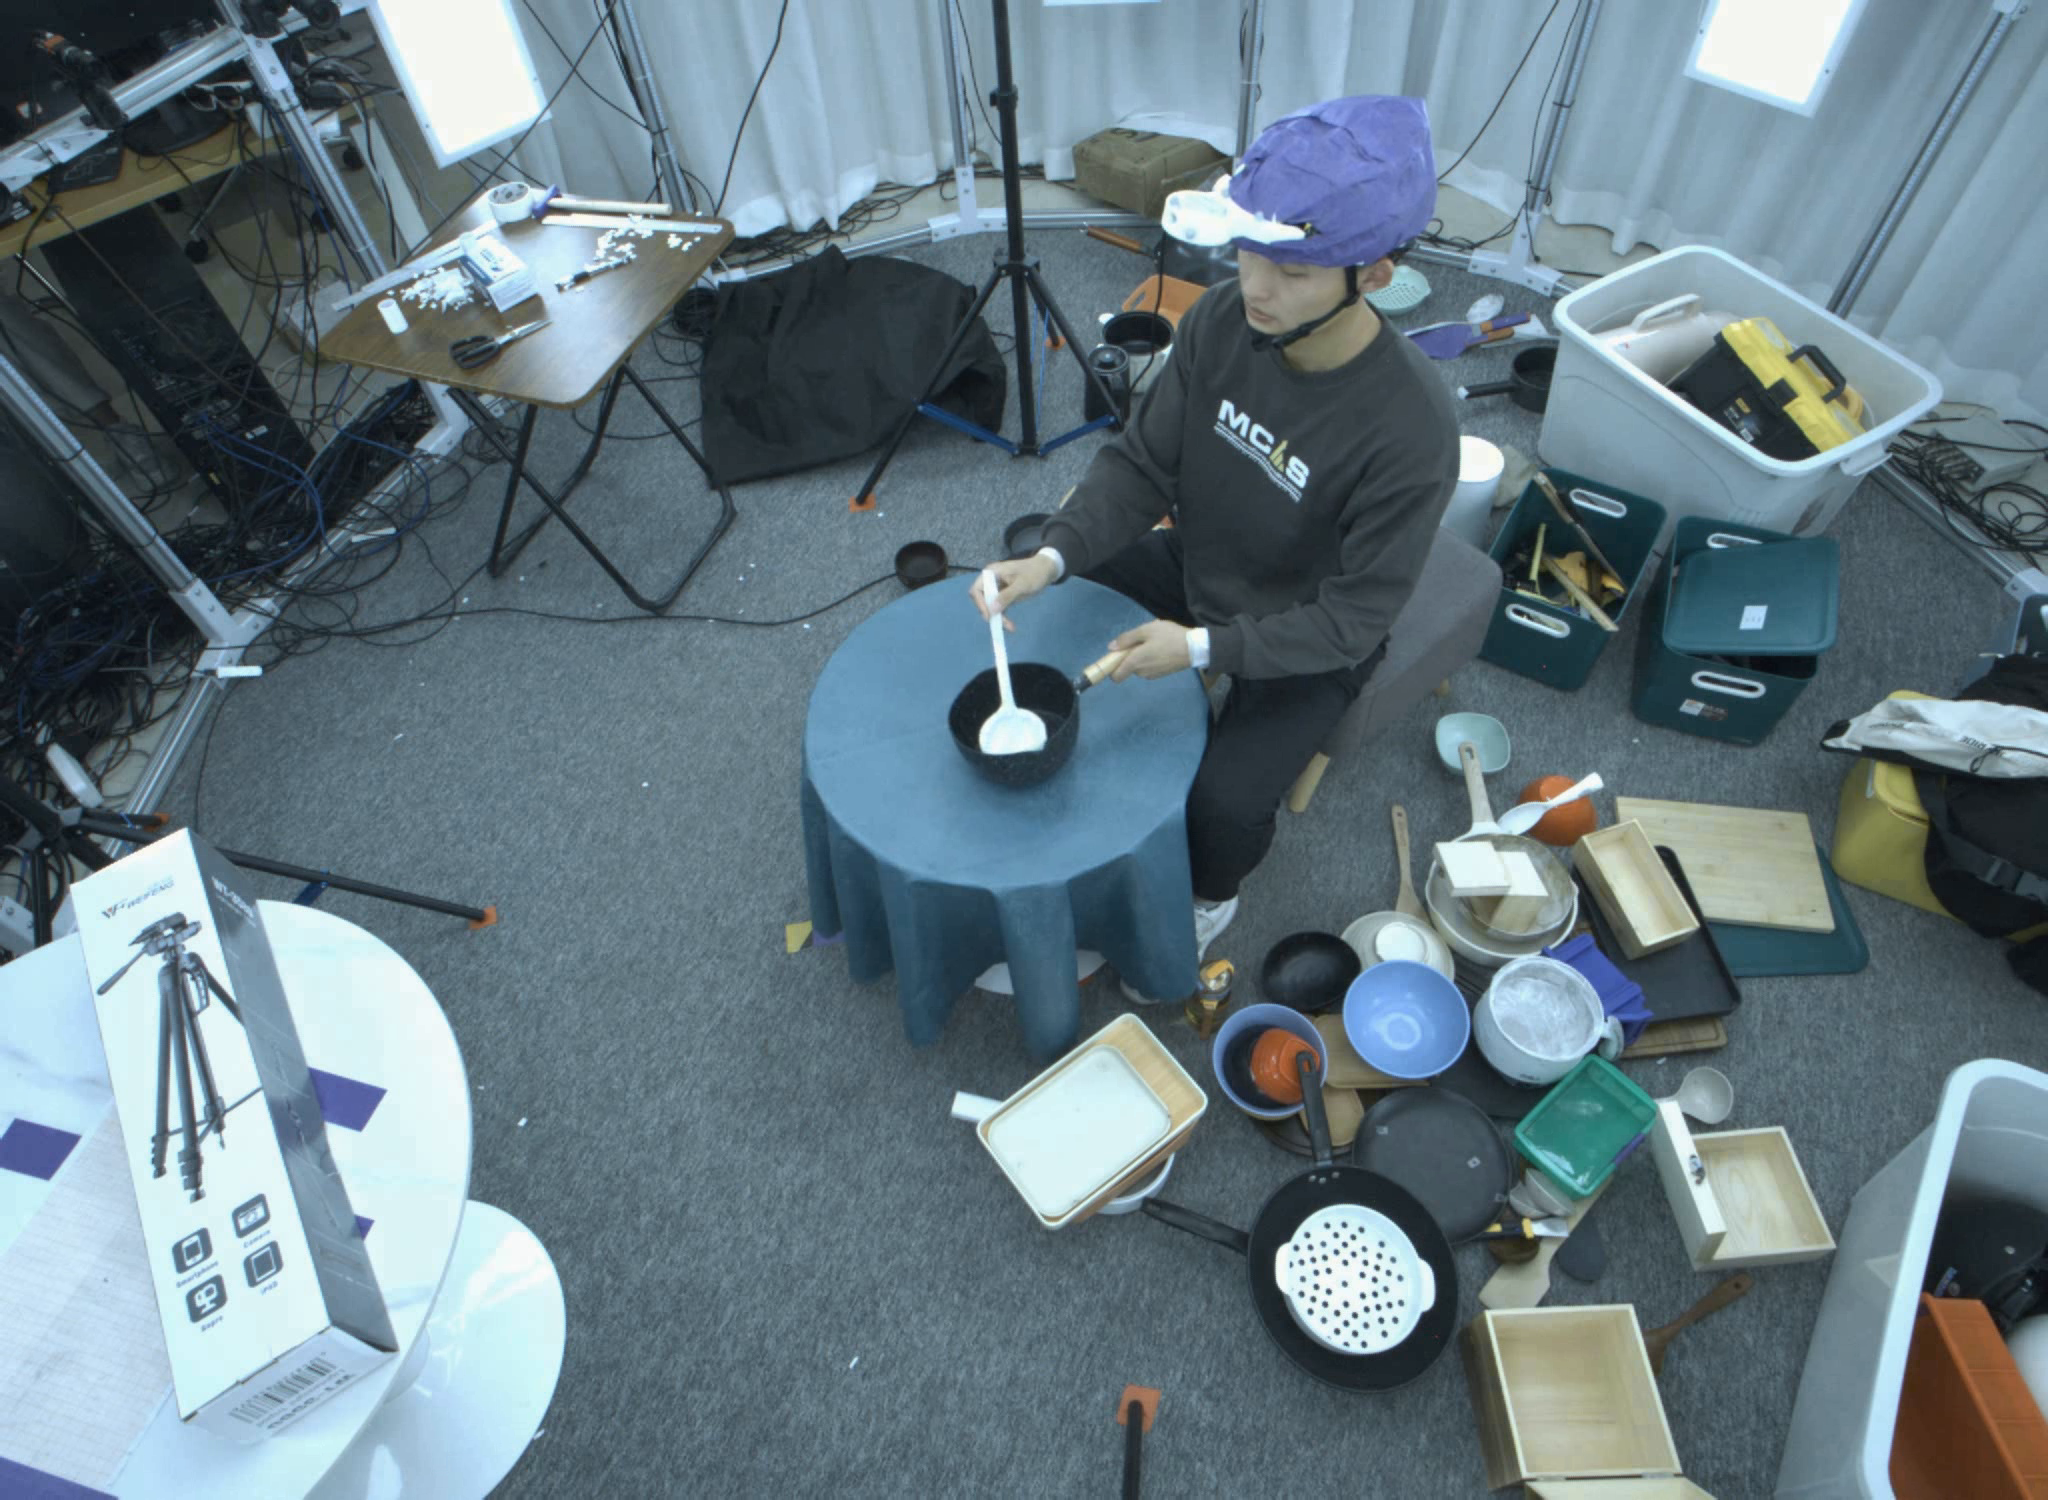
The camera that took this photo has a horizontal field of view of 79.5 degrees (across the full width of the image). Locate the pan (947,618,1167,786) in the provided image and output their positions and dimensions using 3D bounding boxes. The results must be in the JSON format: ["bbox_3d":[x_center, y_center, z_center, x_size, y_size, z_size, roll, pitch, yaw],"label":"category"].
[{"bbox_3d":[0.058,-0.076,1.757,0.344,0.110,0.203,-28,45,-10],"label":"pan"}]

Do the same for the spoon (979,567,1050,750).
[{"bbox_3d":[-0.022,-0.120,1.712,0.101,0.059,0.277,-5,94,-2],"label":"spoon"}]
